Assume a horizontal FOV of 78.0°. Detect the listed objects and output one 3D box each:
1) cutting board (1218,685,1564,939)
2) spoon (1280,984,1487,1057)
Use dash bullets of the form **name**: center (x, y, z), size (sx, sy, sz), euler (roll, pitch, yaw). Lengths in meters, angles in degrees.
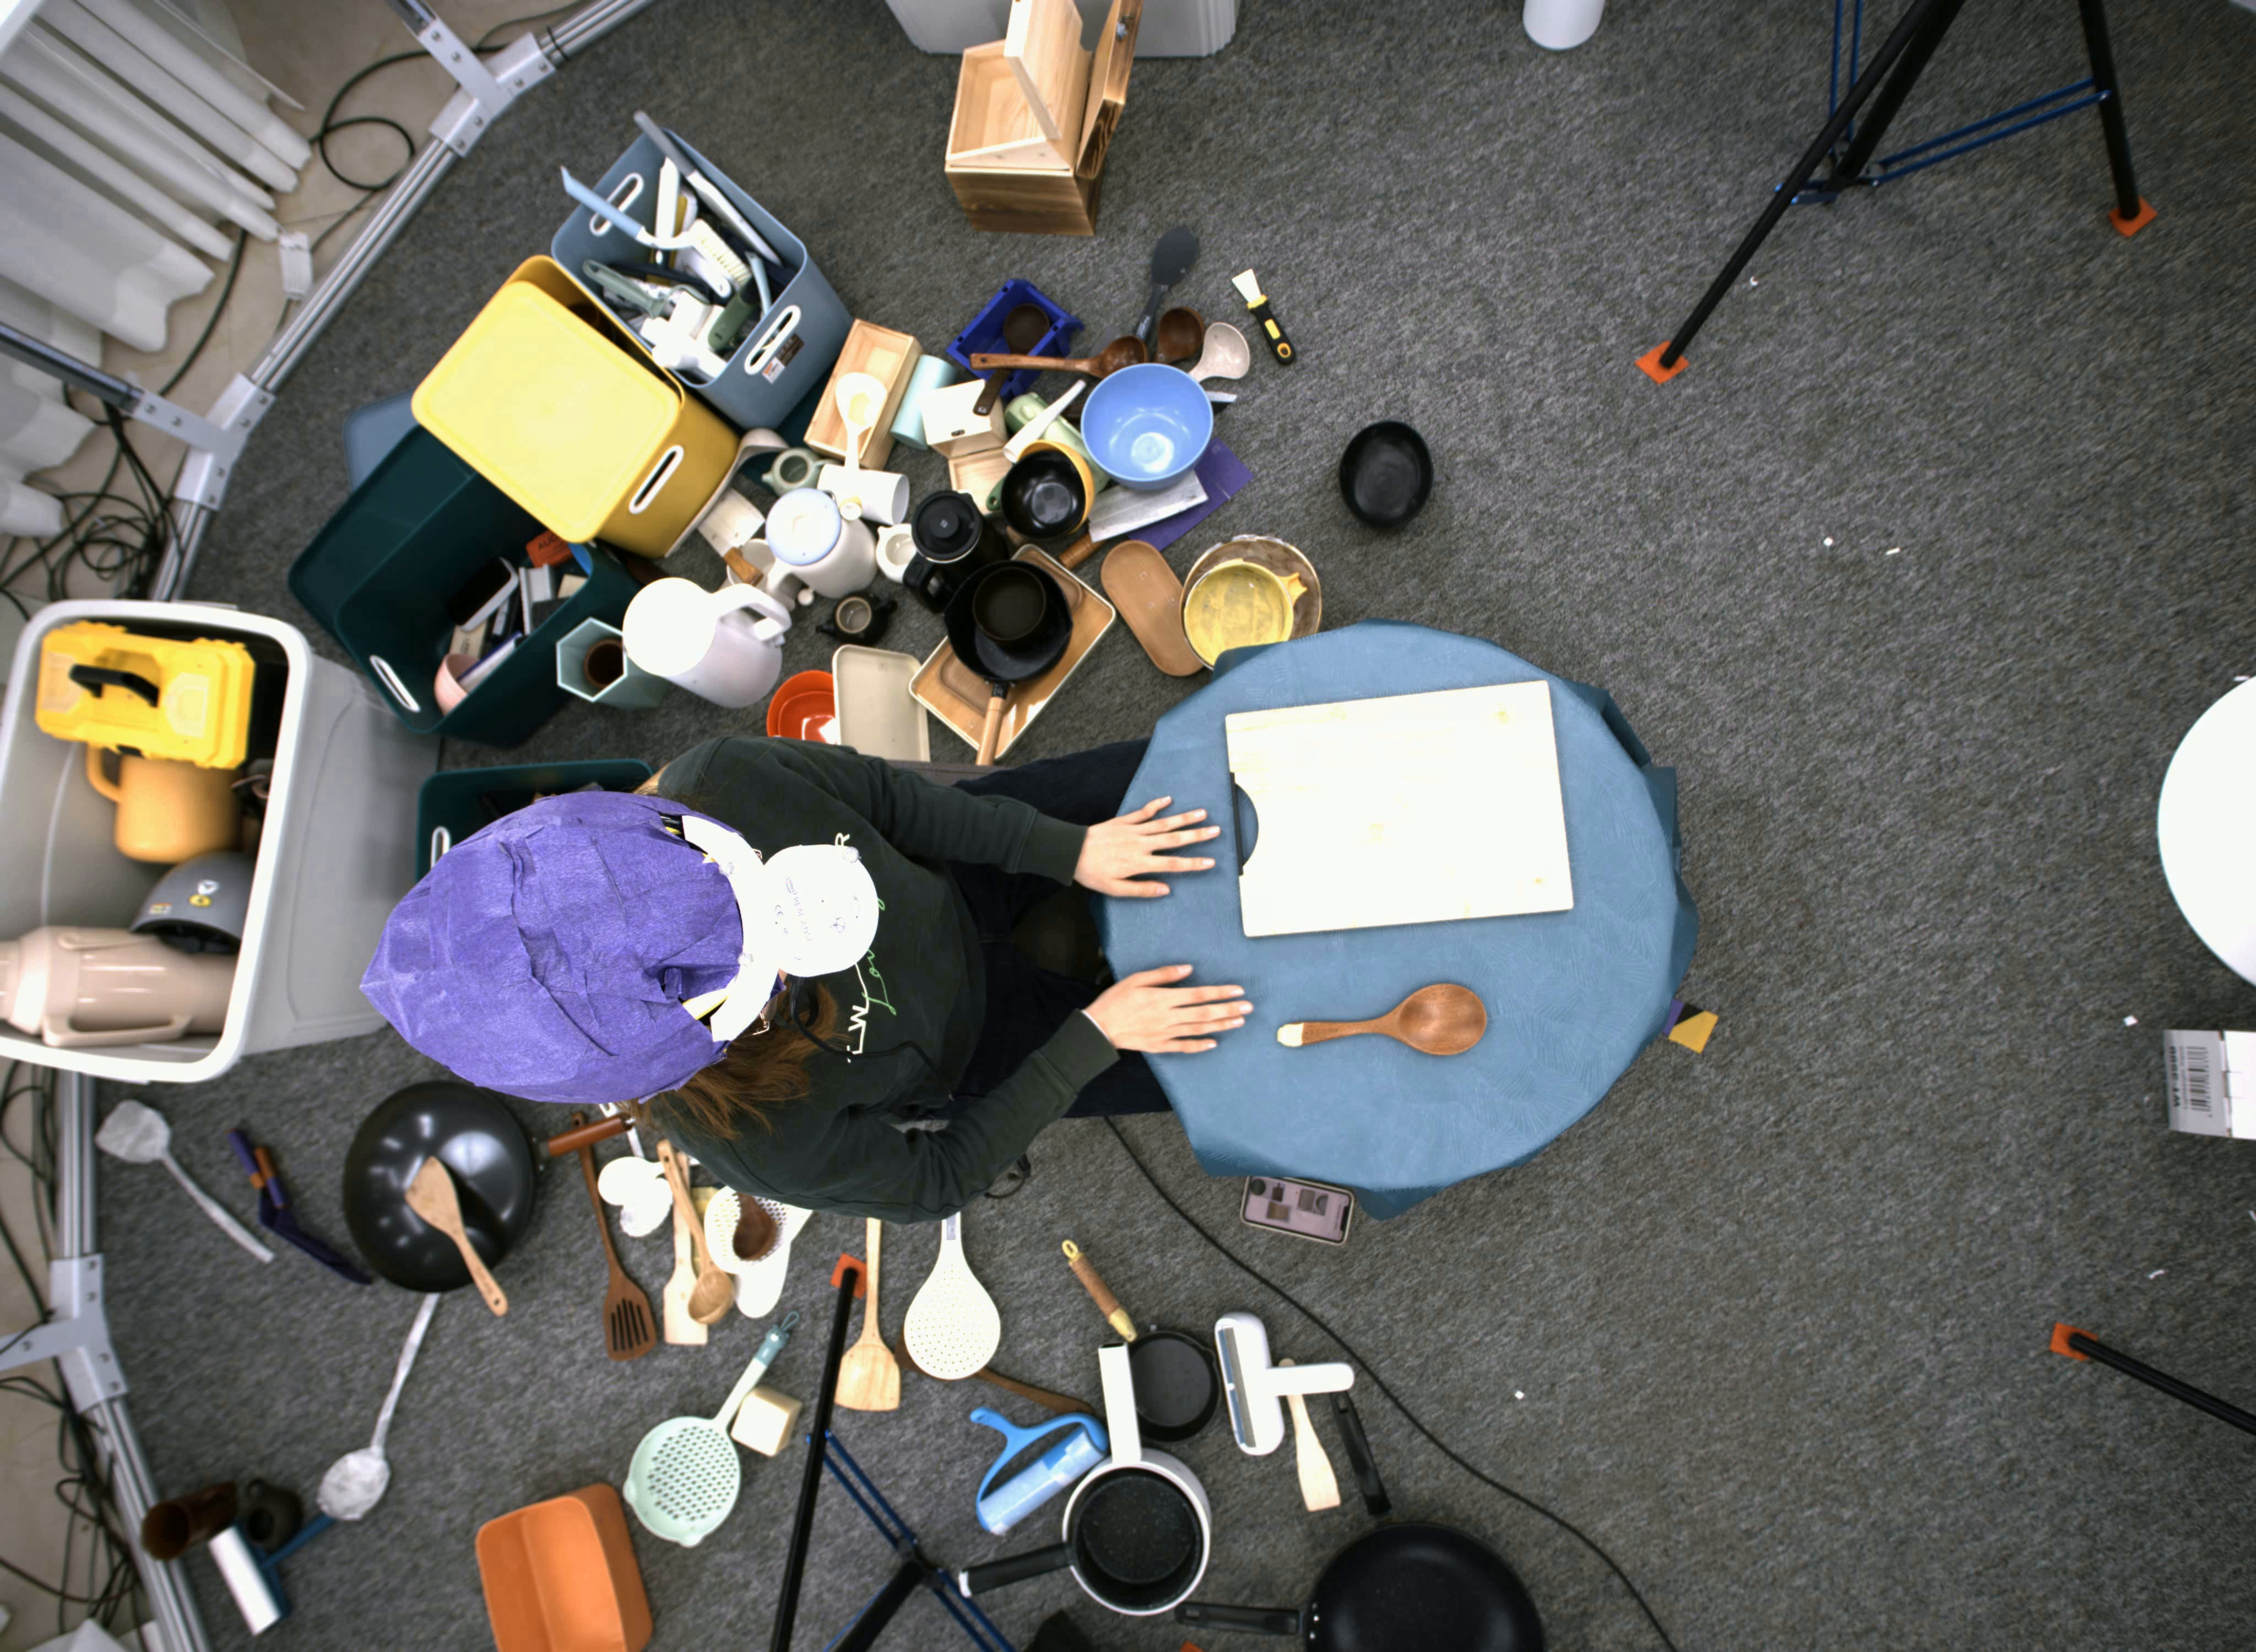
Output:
- **cutting board**: center (0.278, -0.015, 1.461), size (0.350, 0.023, 0.249), euler (-7, 84, 10)
- **spoon**: center (0.266, 0.209, 1.447), size (0.217, 0.017, 0.075), euler (-7, 86, 9)
